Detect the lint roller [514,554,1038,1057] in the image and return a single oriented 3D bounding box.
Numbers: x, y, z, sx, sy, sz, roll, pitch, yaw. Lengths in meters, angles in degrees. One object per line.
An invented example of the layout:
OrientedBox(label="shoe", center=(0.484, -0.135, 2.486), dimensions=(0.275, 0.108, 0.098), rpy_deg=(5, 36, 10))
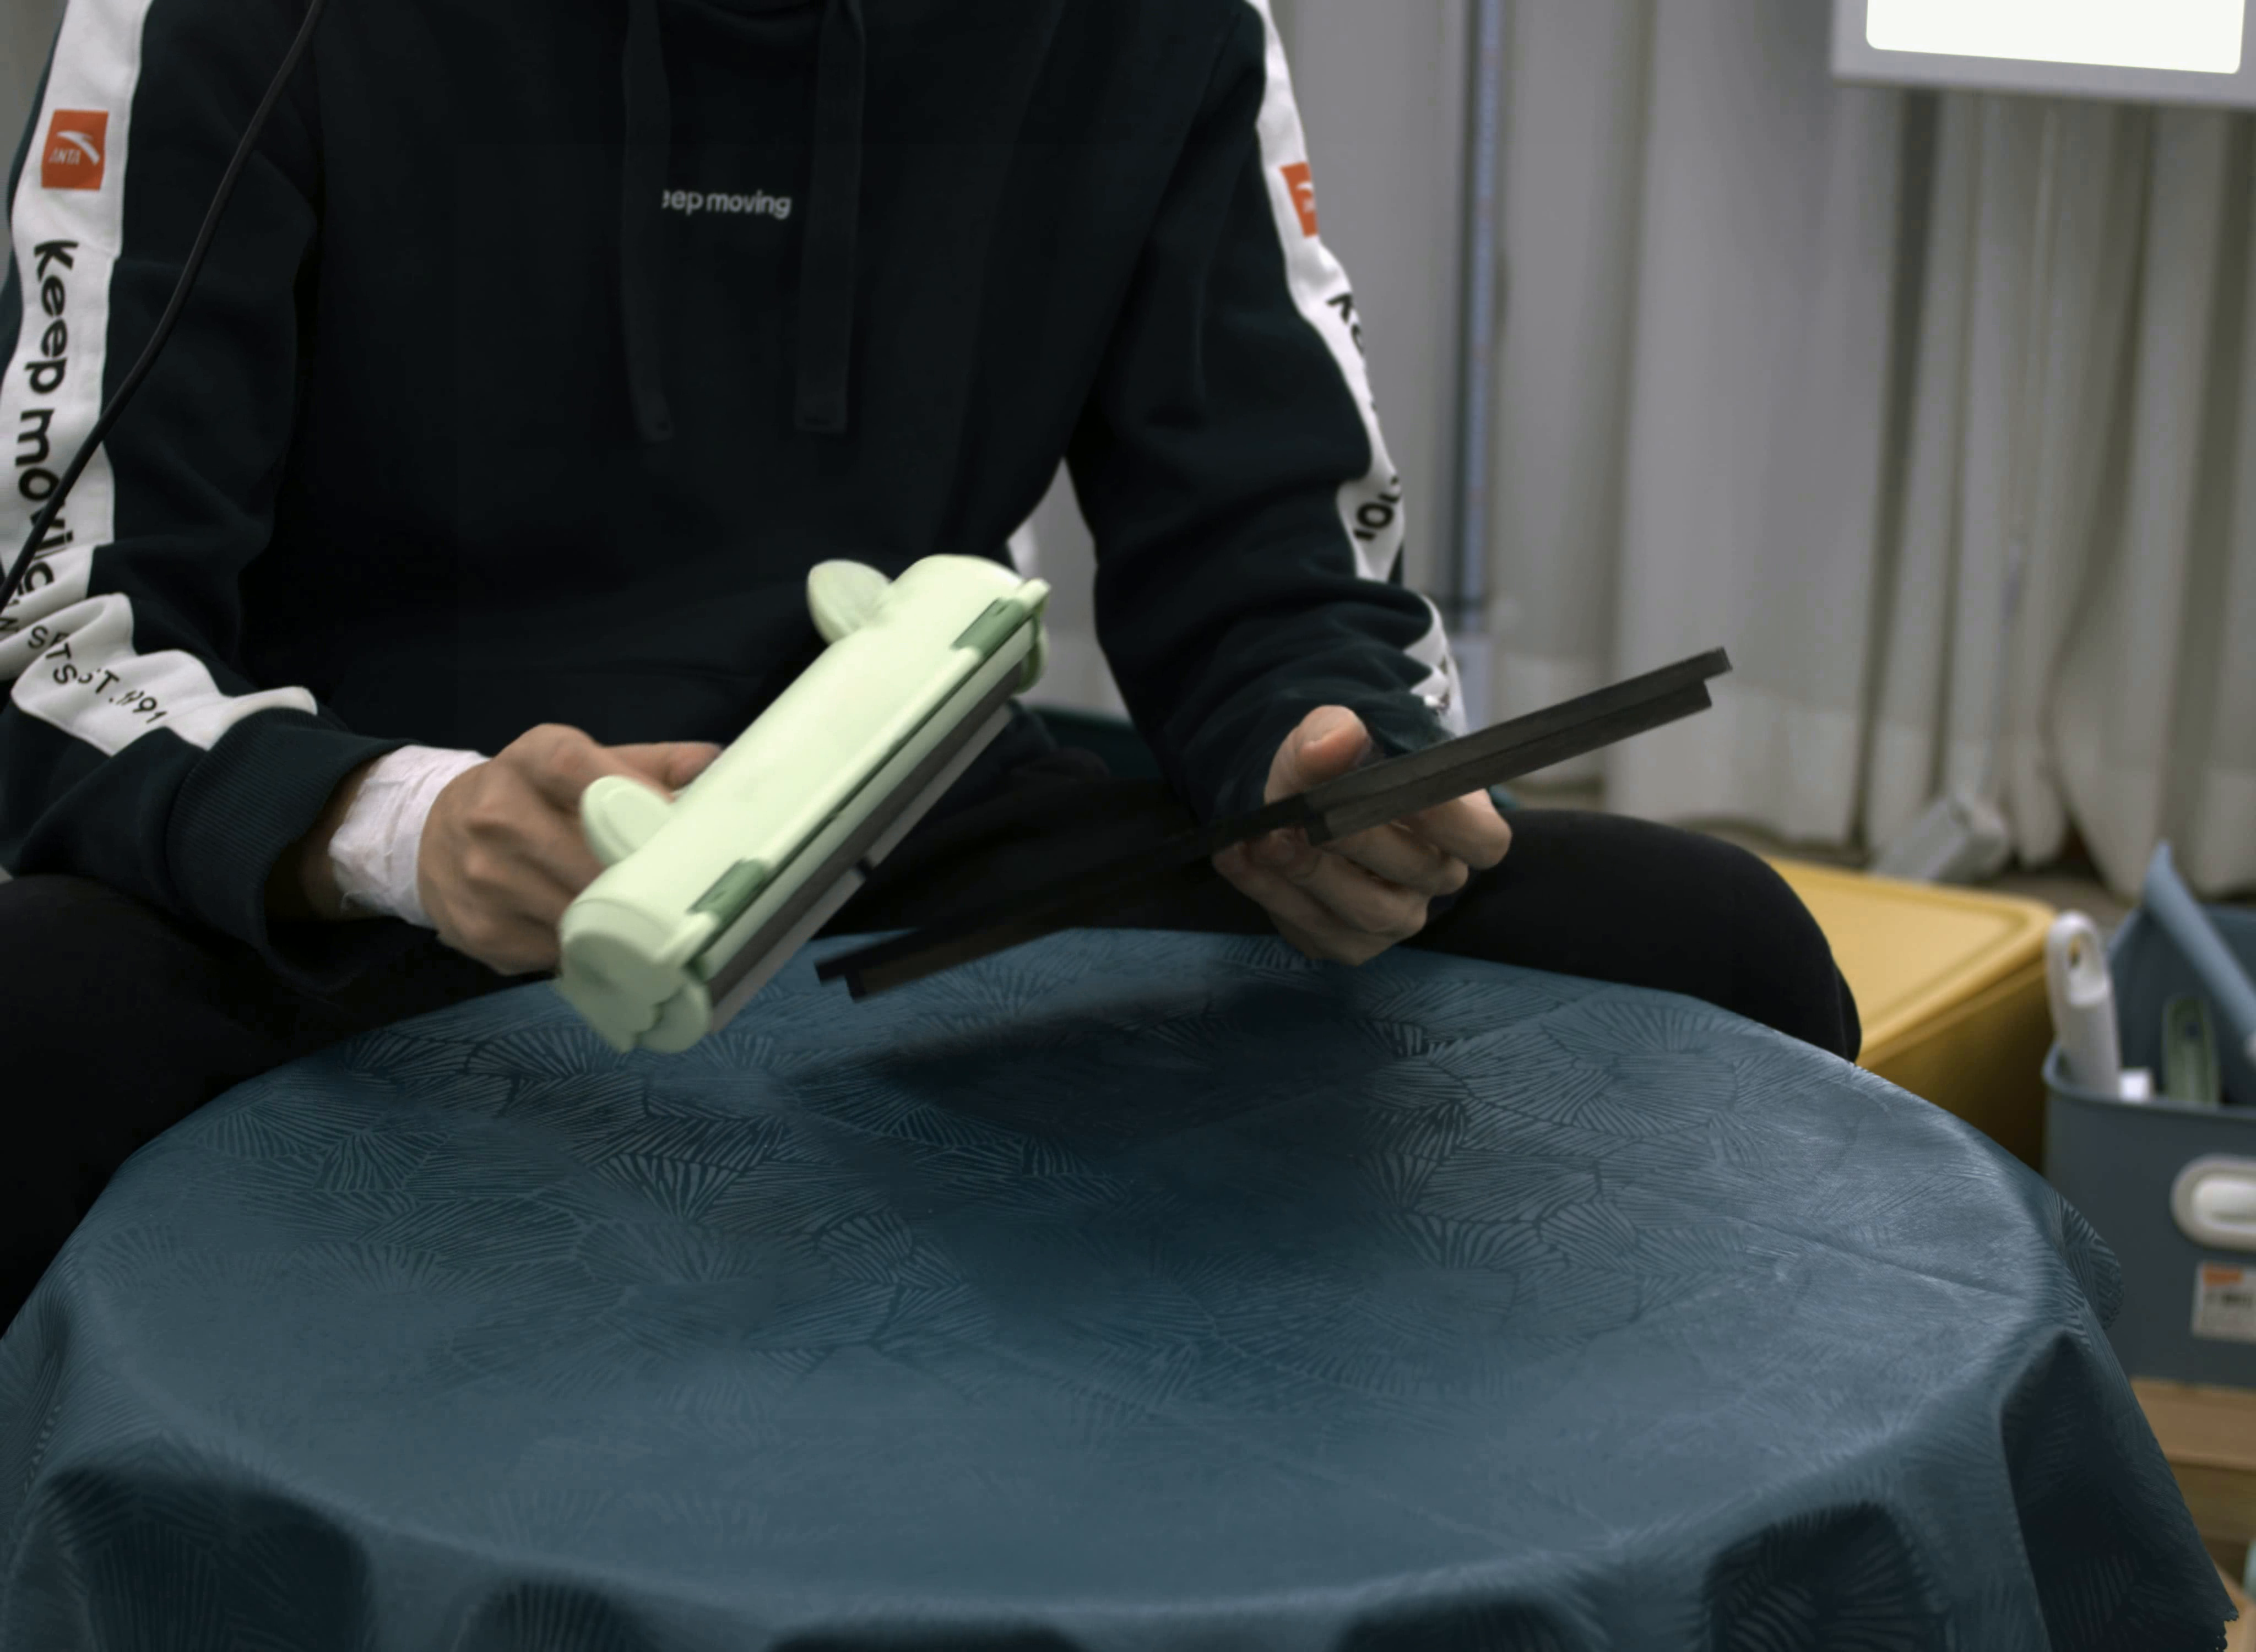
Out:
OrientedBox(label="lint roller", center=(-0.140, -0.010, 1.600), dimensions=(0.181, 0.083, 0.198), rpy_deg=(-5, 33, 44))

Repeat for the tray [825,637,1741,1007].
OrientedBox(label="tray", center=(0.044, 0.003, 1.656), dimensions=(0.171, 0.018, 0.304), rpy_deg=(-20, -1, -36))
